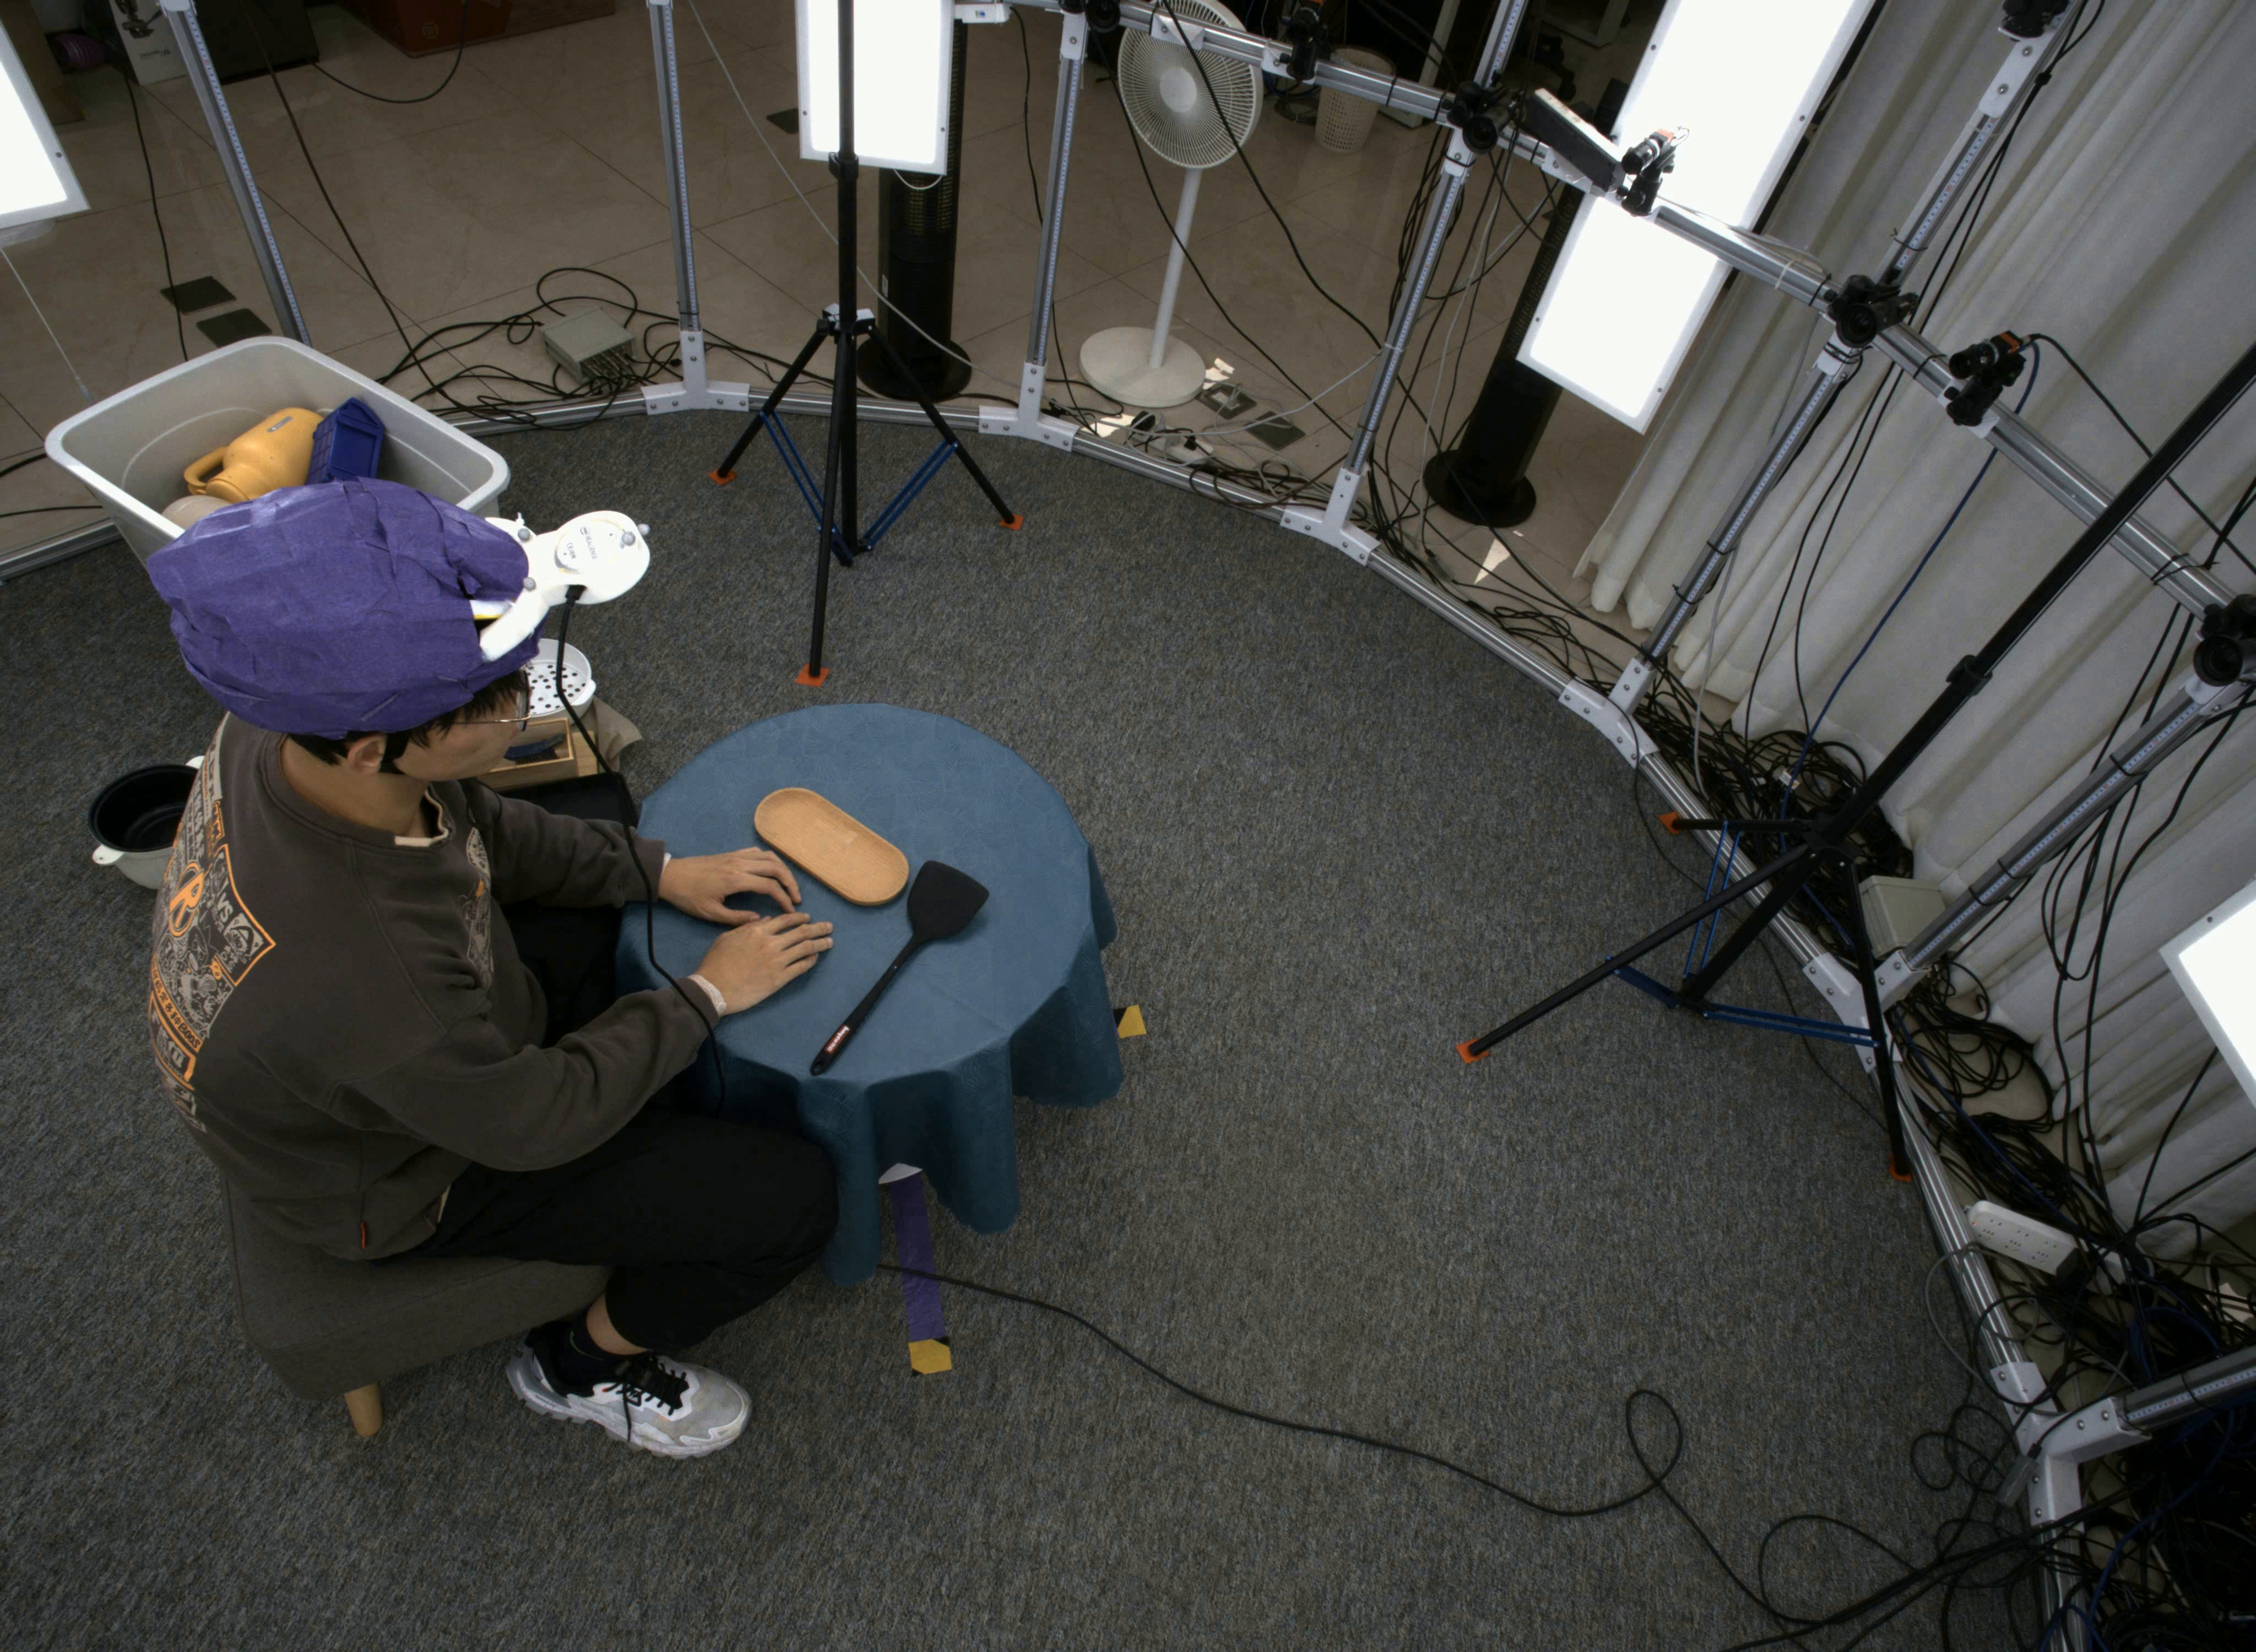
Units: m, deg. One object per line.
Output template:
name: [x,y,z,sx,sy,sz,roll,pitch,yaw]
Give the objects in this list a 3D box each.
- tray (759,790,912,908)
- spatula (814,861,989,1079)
tray: [-0.388,0.029,1.716,0.227,0.021,0.101,34,54,10]
spatula: [-0.293,0.178,1.616,0.098,0.041,0.324,27,53,9]
